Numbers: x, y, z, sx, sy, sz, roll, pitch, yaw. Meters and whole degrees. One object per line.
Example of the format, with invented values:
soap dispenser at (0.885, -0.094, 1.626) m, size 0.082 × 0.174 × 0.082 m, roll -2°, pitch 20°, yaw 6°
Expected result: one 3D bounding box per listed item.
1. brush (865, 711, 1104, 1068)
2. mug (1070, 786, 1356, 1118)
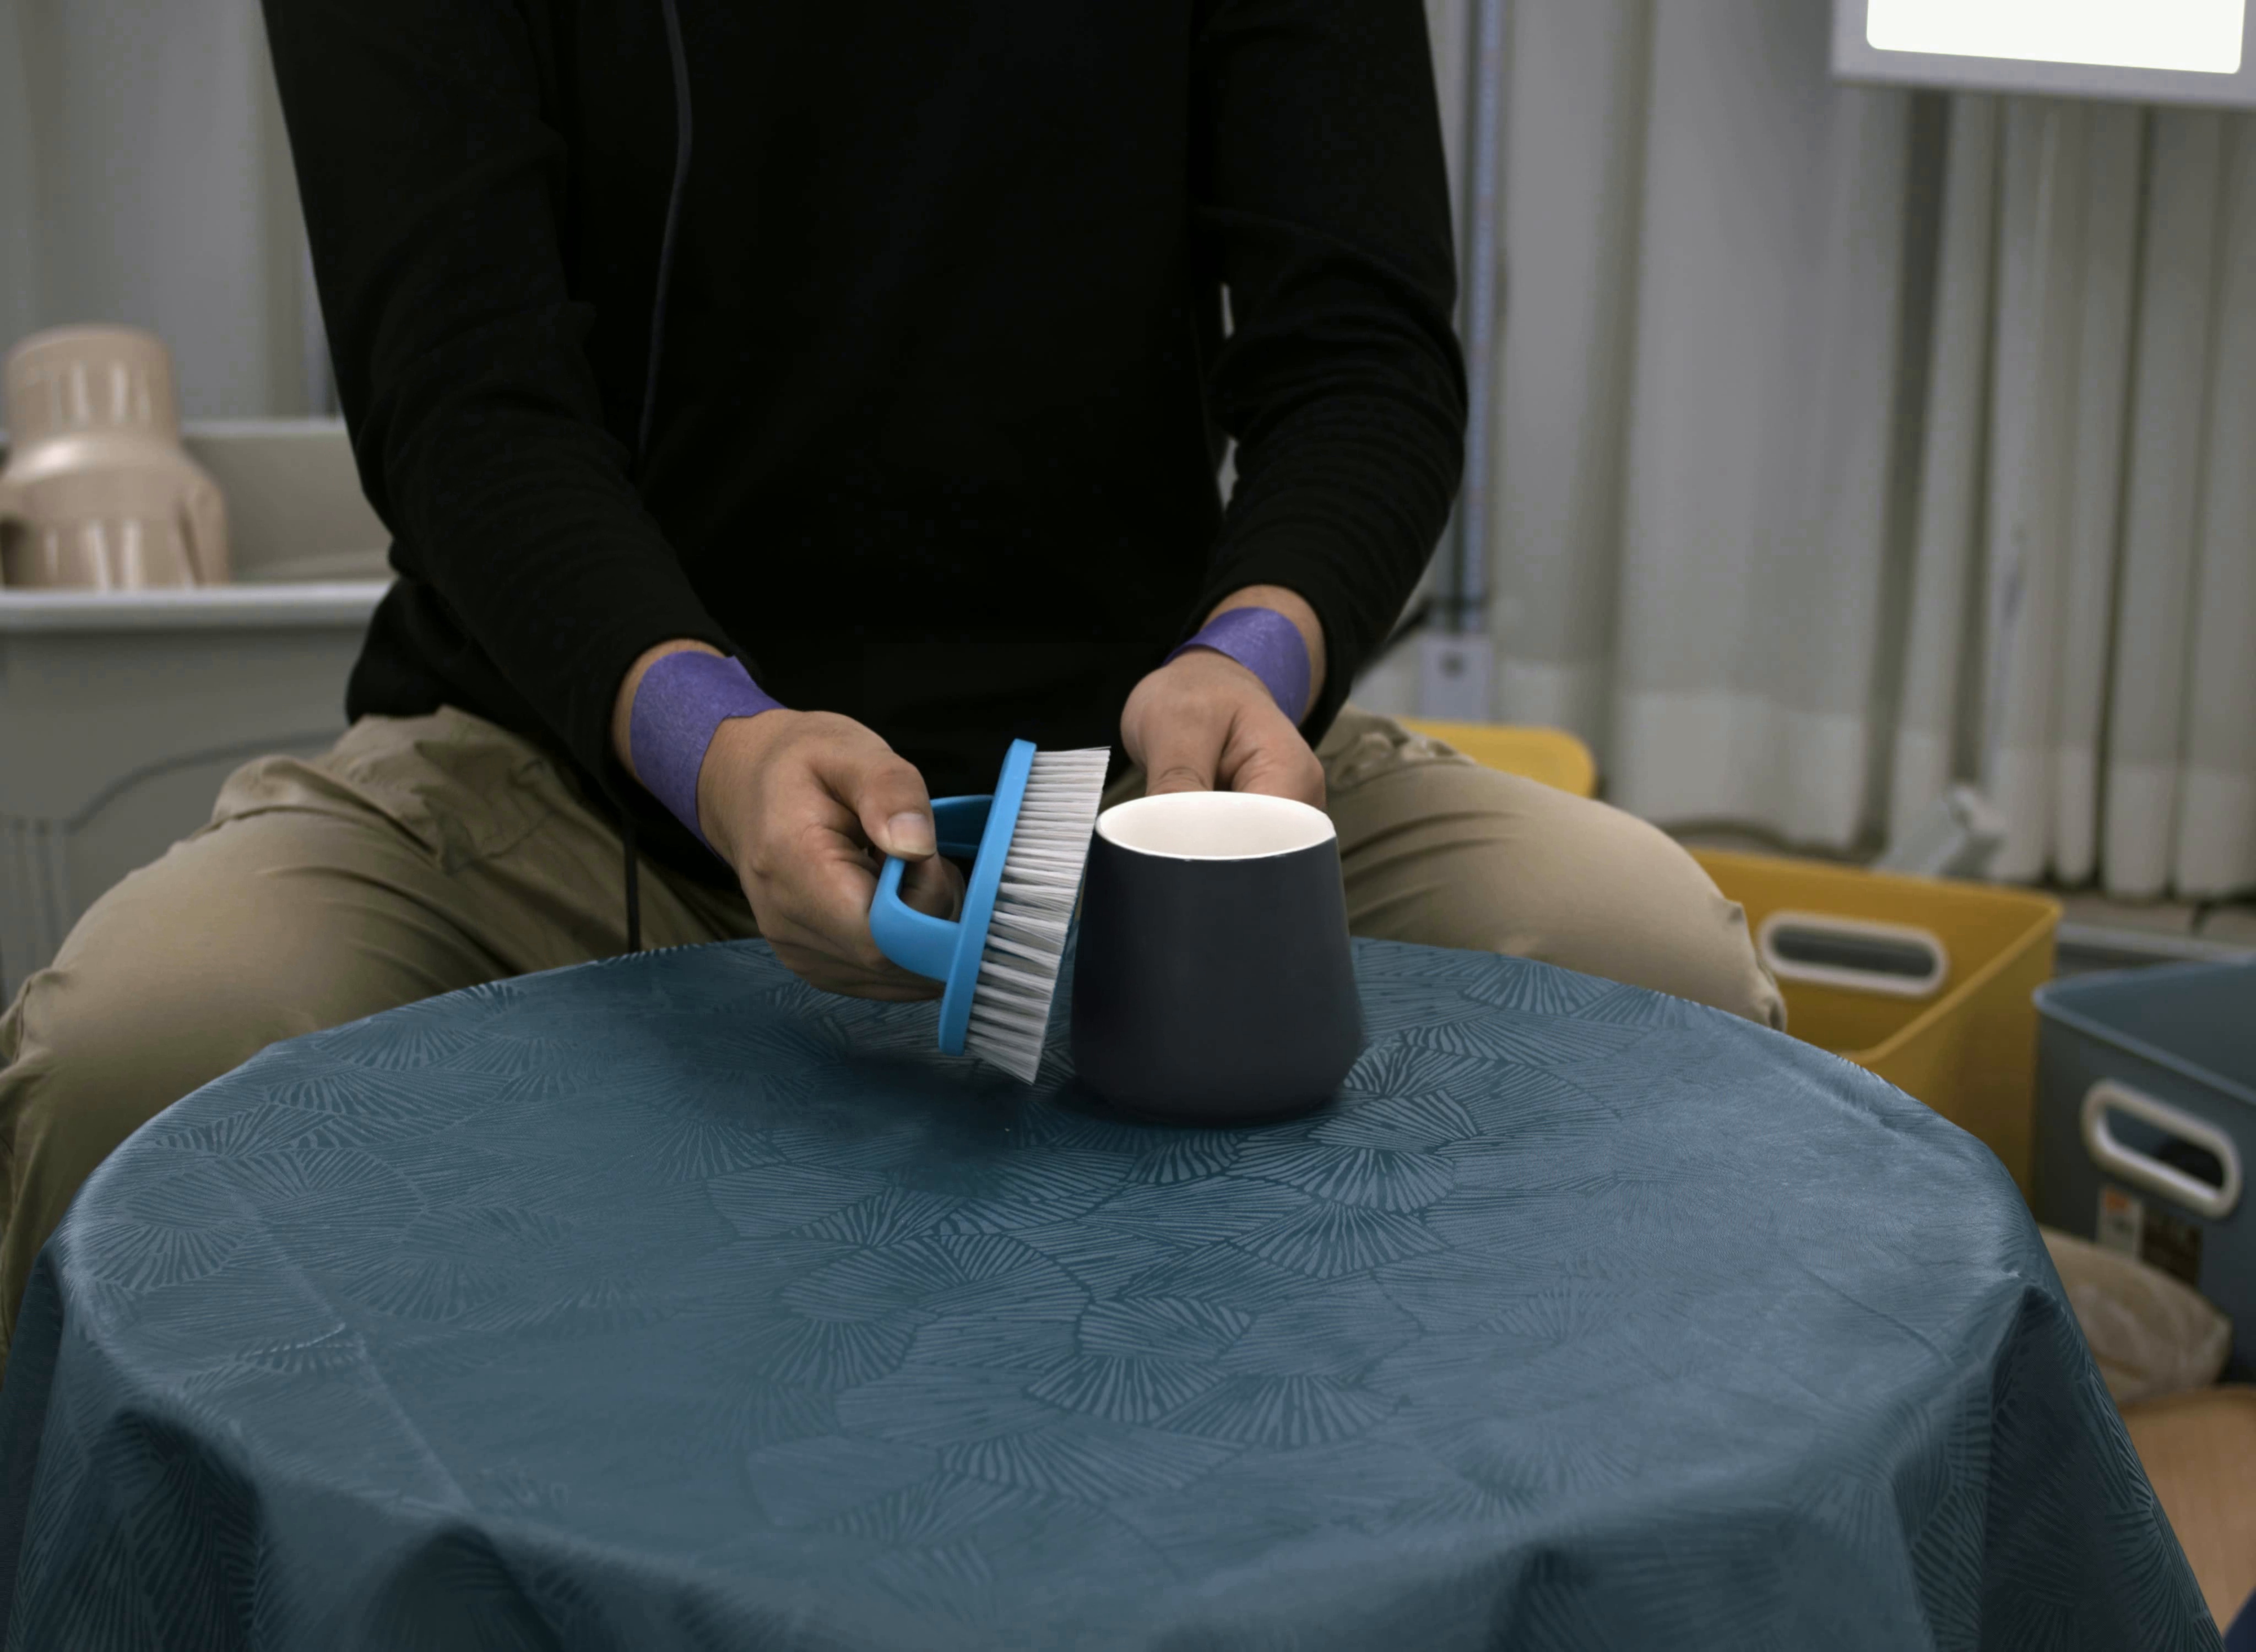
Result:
brush at (-0.049, 0.017, 1.685) m, size 0.063 × 0.085 × 0.141 m, roll 11°, pitch 30°, yaw 2°
mug at (0.026, 0.036, 1.719) m, size 0.093 × 0.090 × 0.122 m, roll -1°, pitch 17°, yaw -7°
